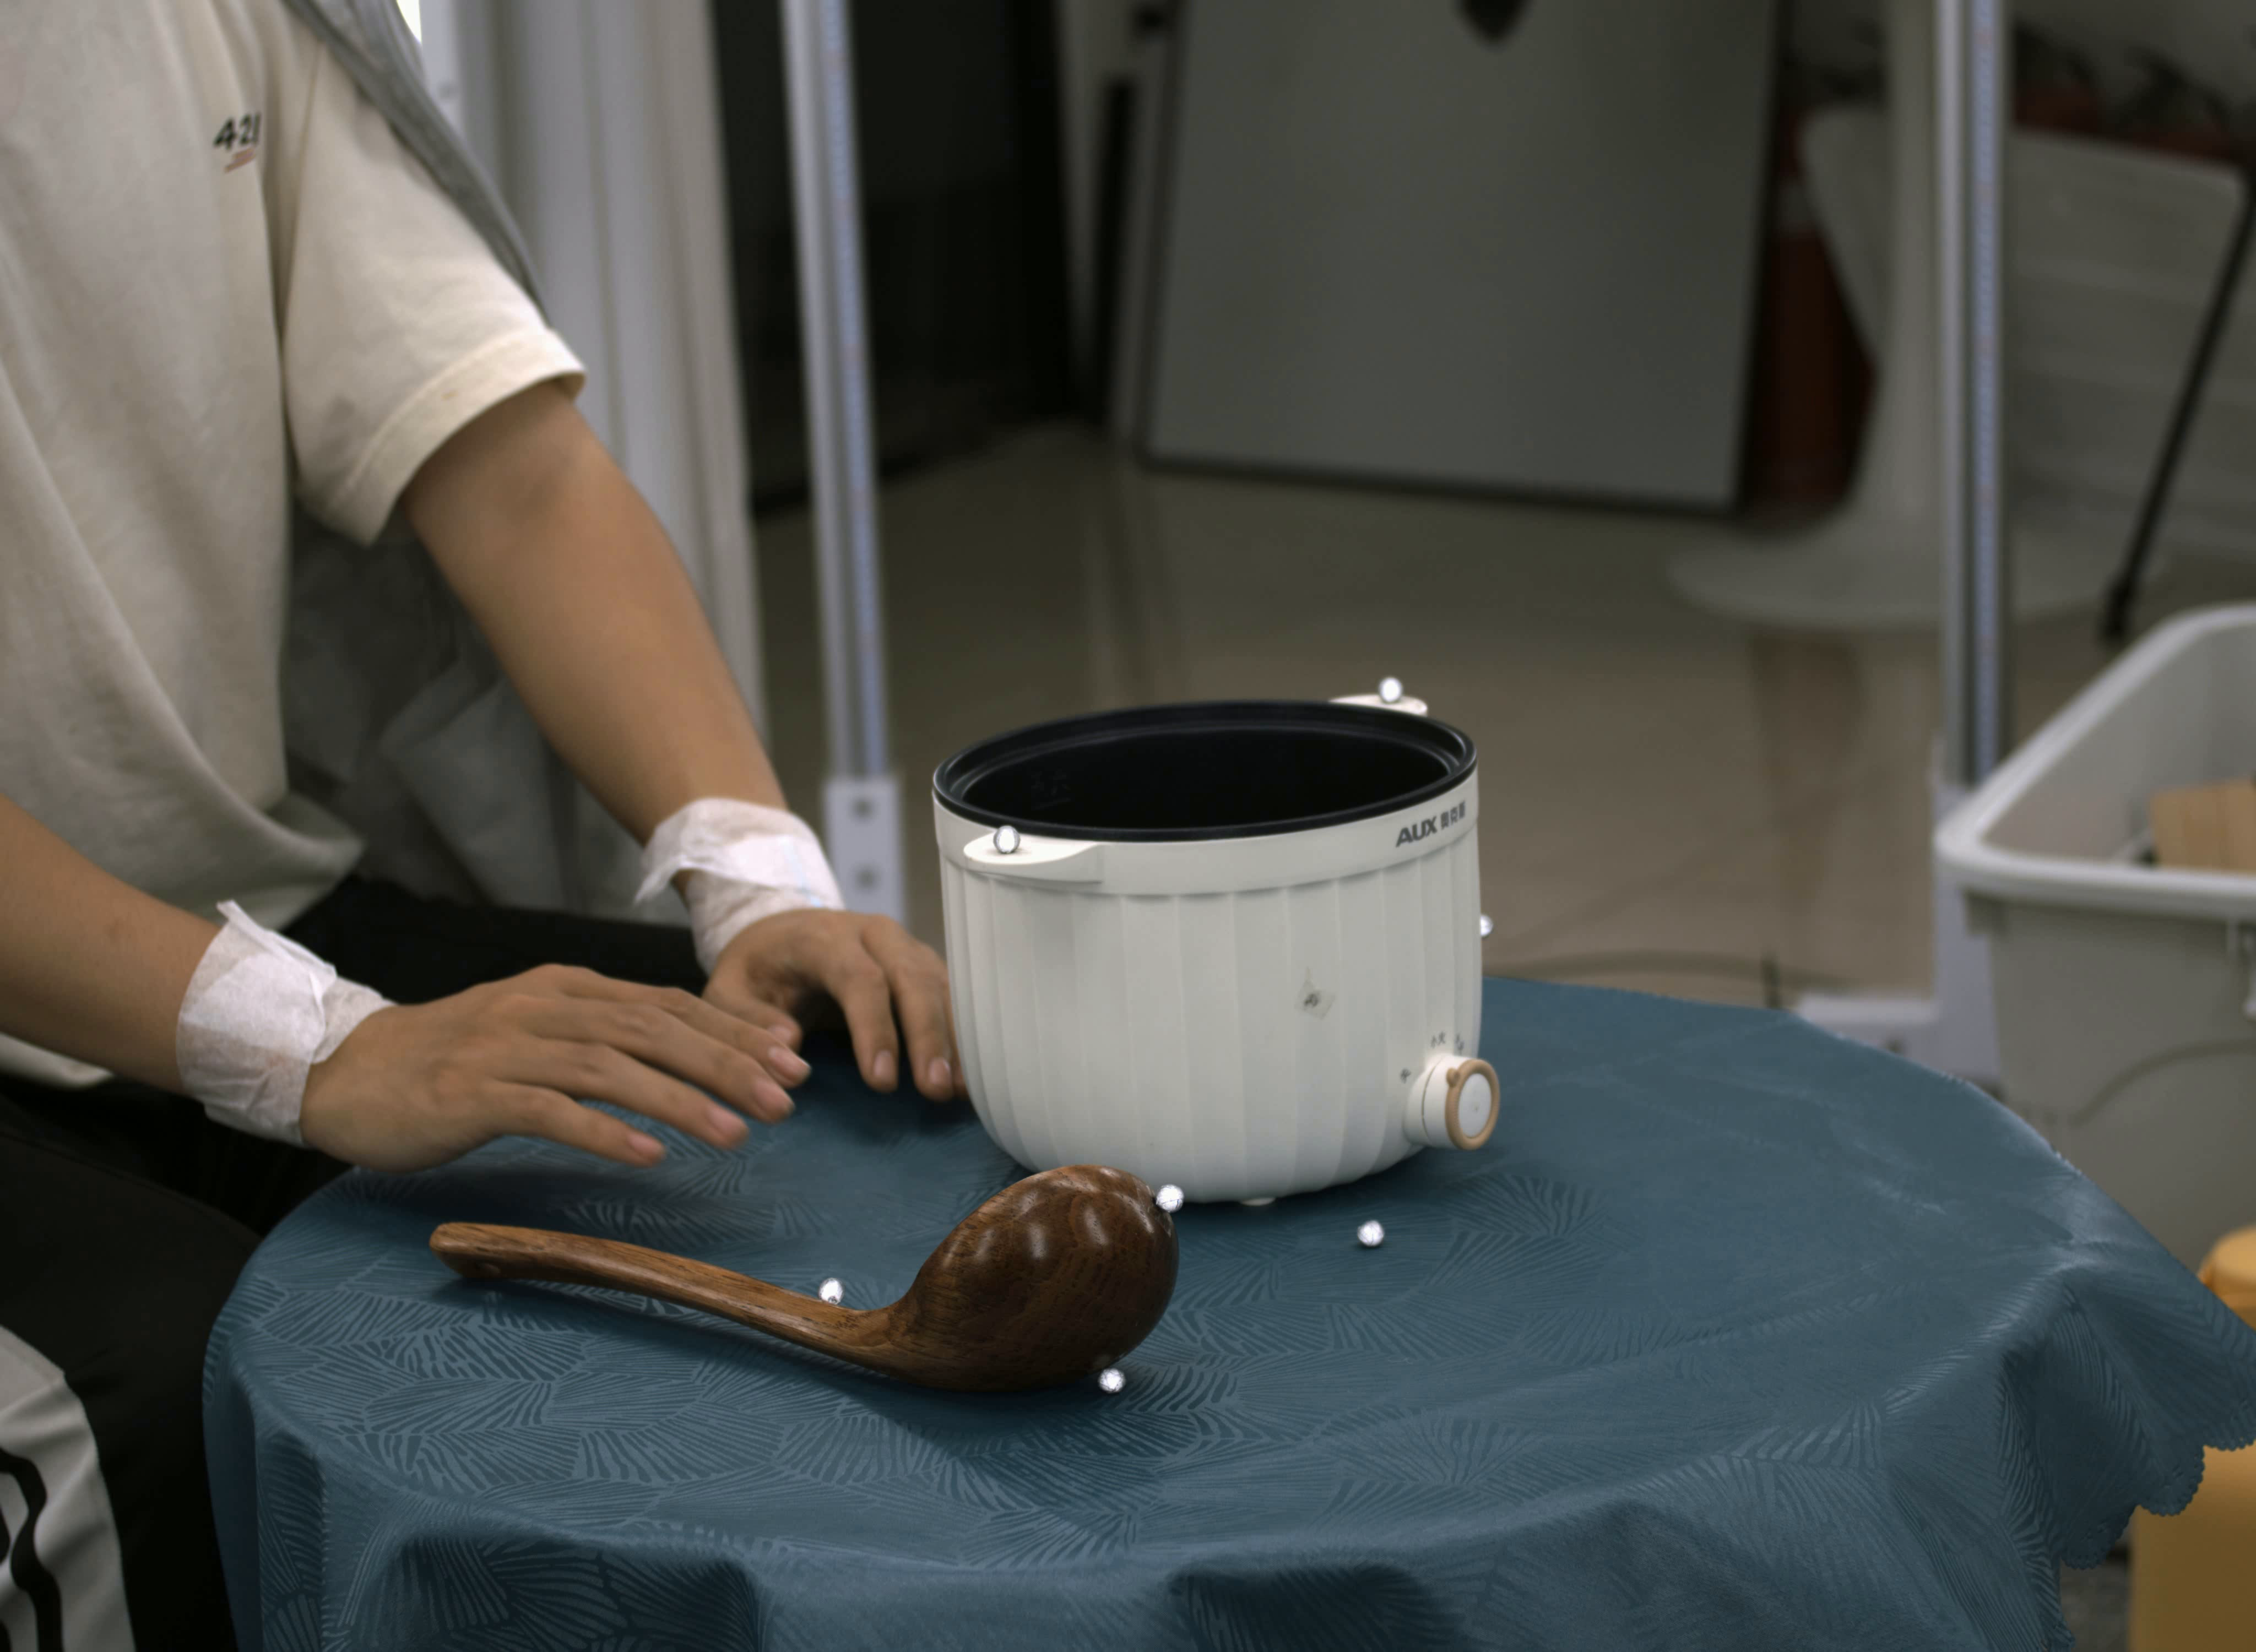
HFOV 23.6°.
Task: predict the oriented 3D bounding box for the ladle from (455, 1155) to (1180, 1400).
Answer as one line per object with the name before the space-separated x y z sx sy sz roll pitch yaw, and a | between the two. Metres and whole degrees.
ladle | -0.100 0.126 1.650 0.276 0.081 0.077 6 61 44

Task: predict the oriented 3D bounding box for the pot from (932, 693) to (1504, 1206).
pot | 0.034 0.043 1.790 0.192 0.144 0.236 2 16 36
